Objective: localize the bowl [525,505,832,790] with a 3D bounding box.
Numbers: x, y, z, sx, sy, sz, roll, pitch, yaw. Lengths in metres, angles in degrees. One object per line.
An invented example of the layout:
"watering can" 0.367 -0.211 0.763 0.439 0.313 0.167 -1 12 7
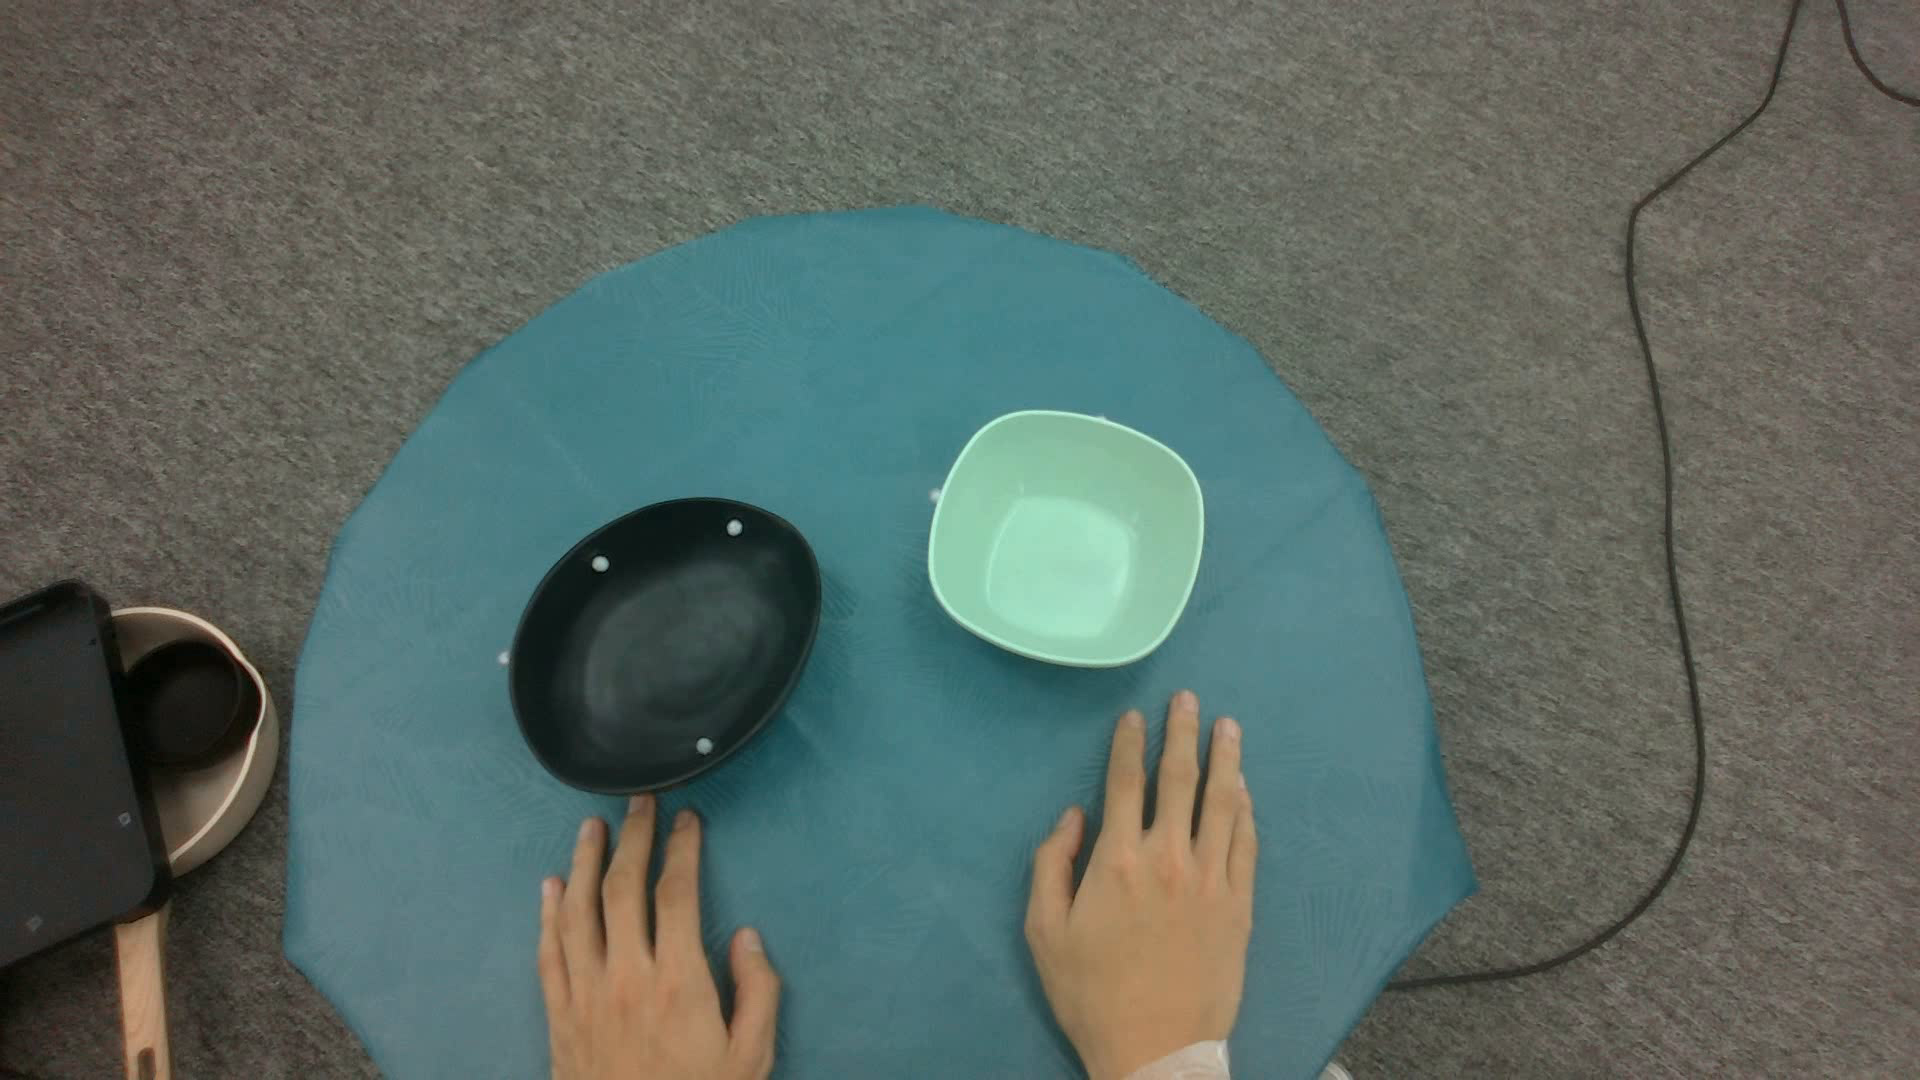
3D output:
"bowl" -0.141 0.059 0.719 0.137 0.066 0.171 36 70 15

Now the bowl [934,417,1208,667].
"bowl" 0.059 0.008 0.743 0.151 0.058 0.152 -1 65 2
